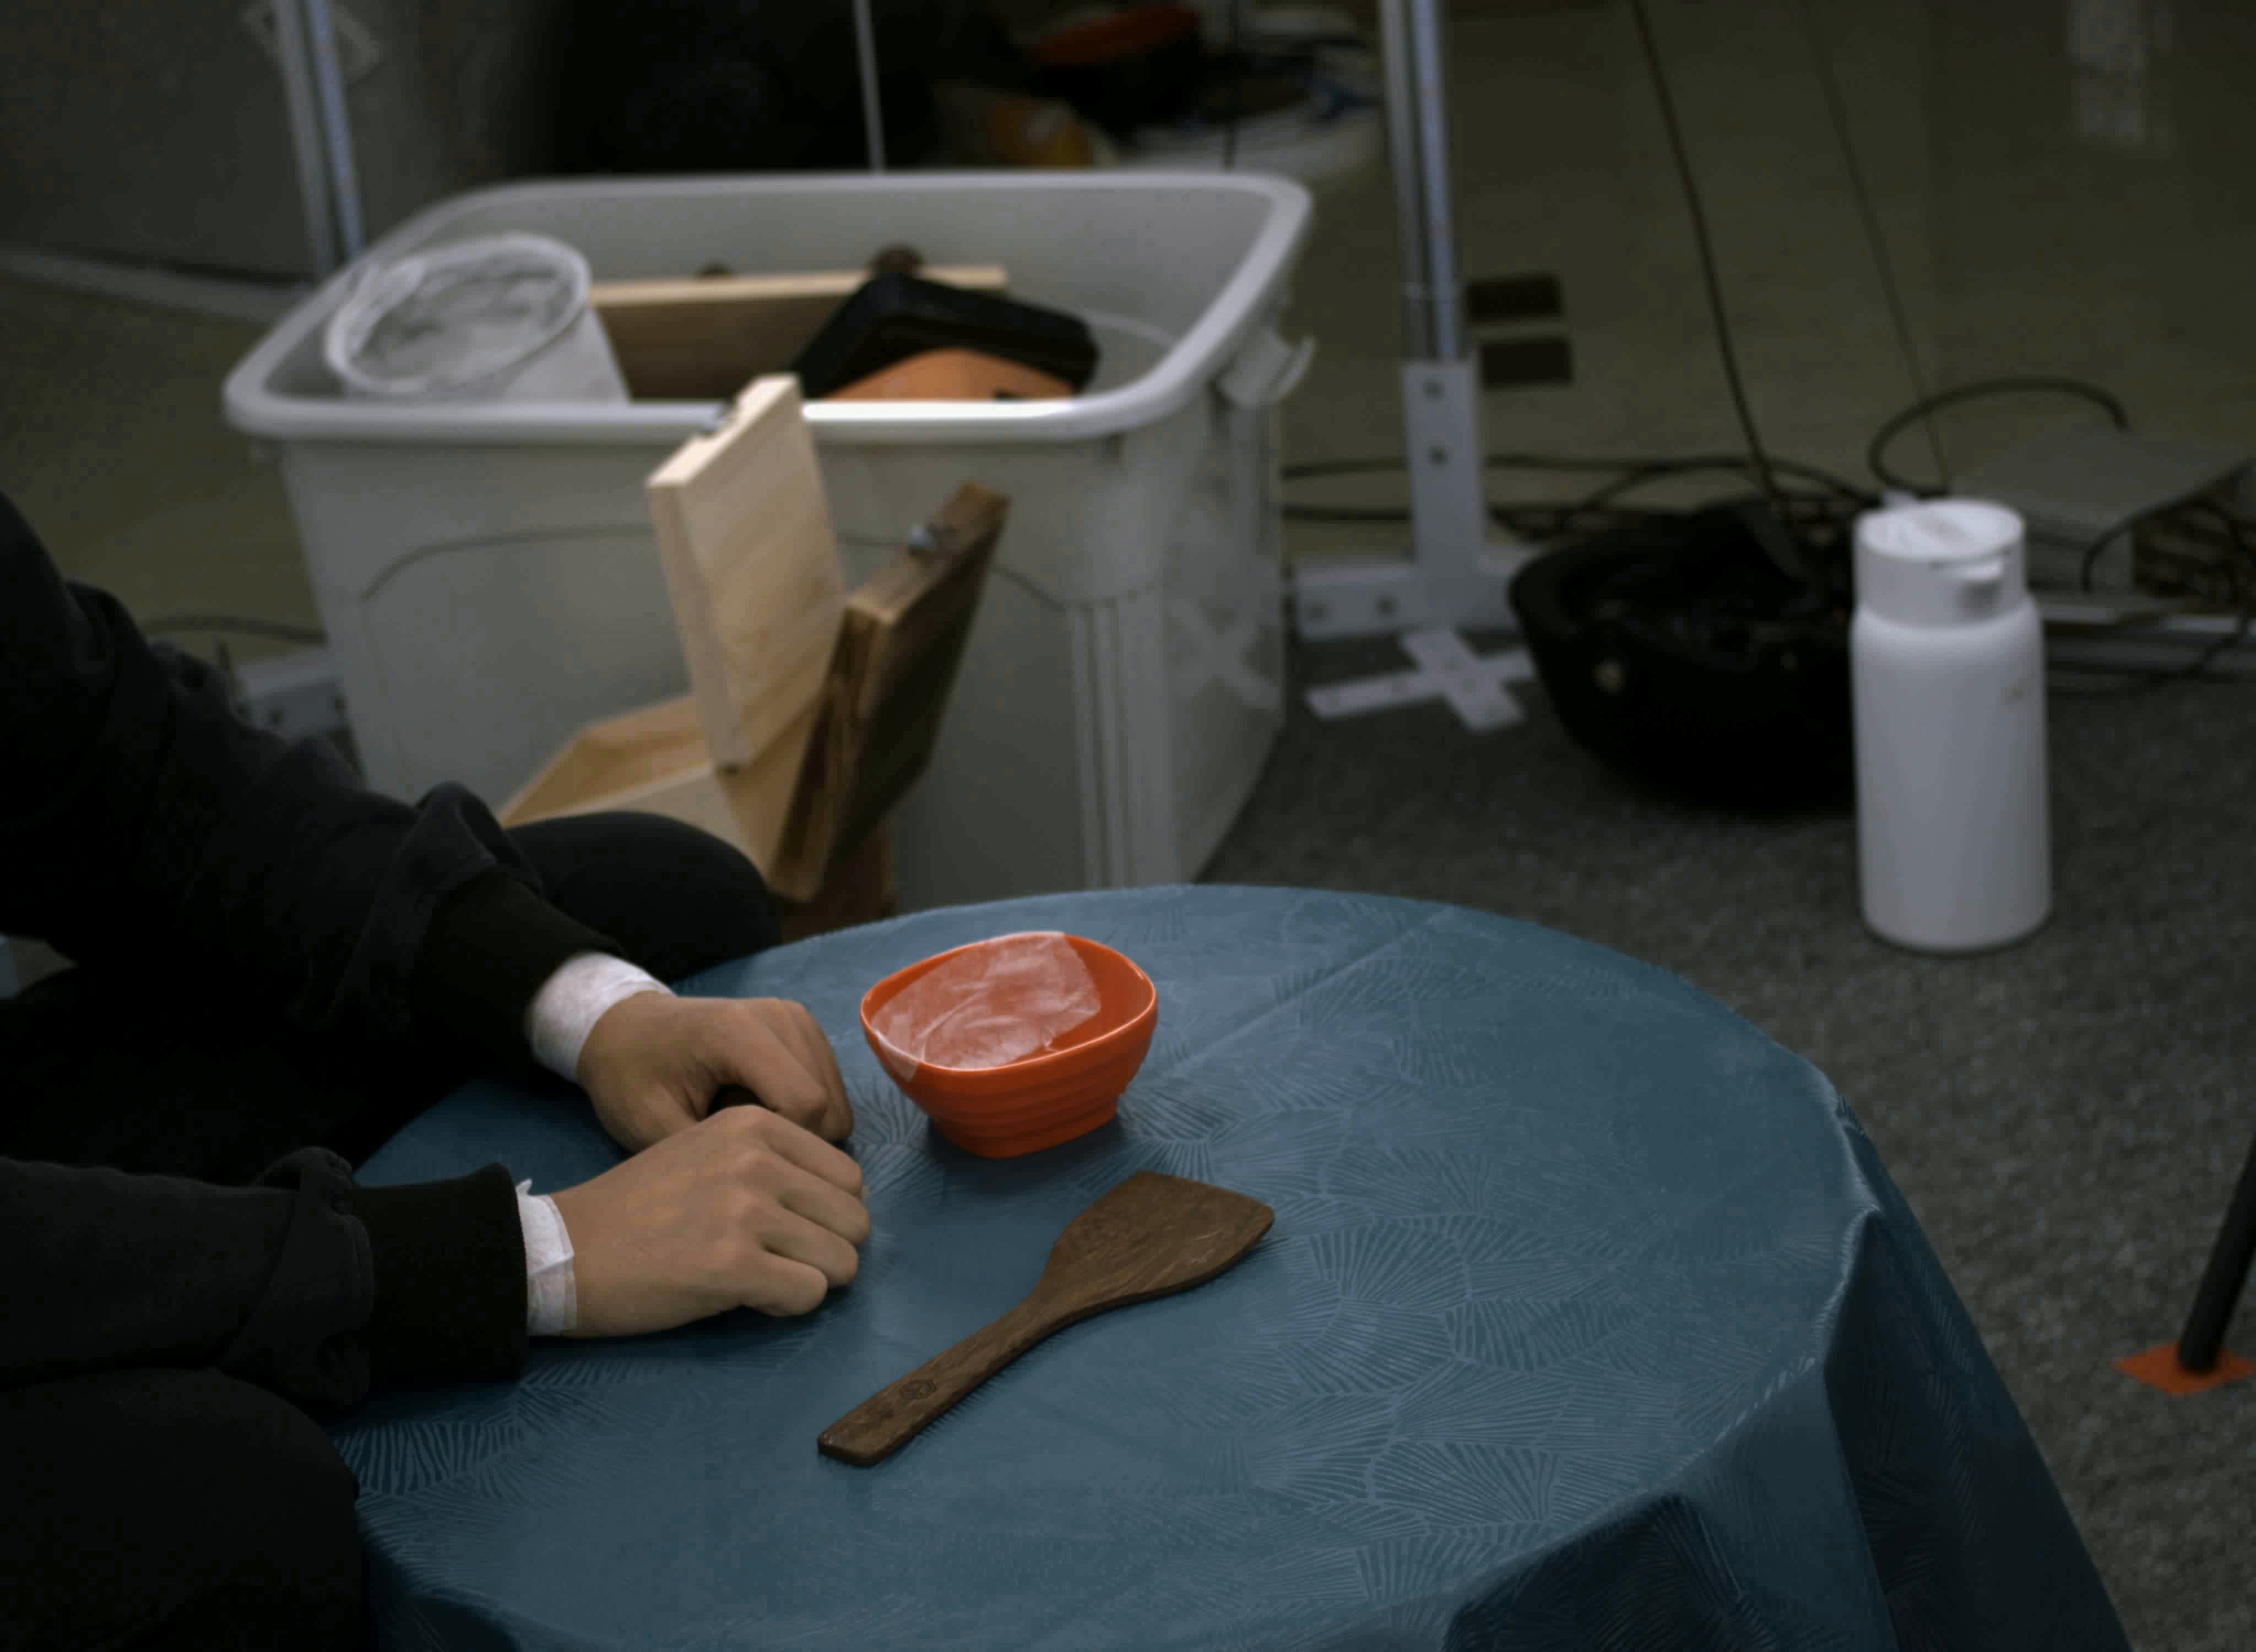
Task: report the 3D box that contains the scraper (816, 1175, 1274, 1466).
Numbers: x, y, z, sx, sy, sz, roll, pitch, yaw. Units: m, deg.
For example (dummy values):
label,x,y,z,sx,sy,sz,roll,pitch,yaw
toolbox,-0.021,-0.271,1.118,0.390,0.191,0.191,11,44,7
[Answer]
label,x,y,z,sx,sy,sz,roll,pitch,yaw
scraper,-0.035,0.181,2.063,0.075,0.011,0.209,14,33,39

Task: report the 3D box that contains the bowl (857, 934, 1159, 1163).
label,x,y,z,sx,sy,sz,roll,pitch,yaw
bowl,-0.045,0.091,2.208,0.119,0.052,0.117,-4,26,2
